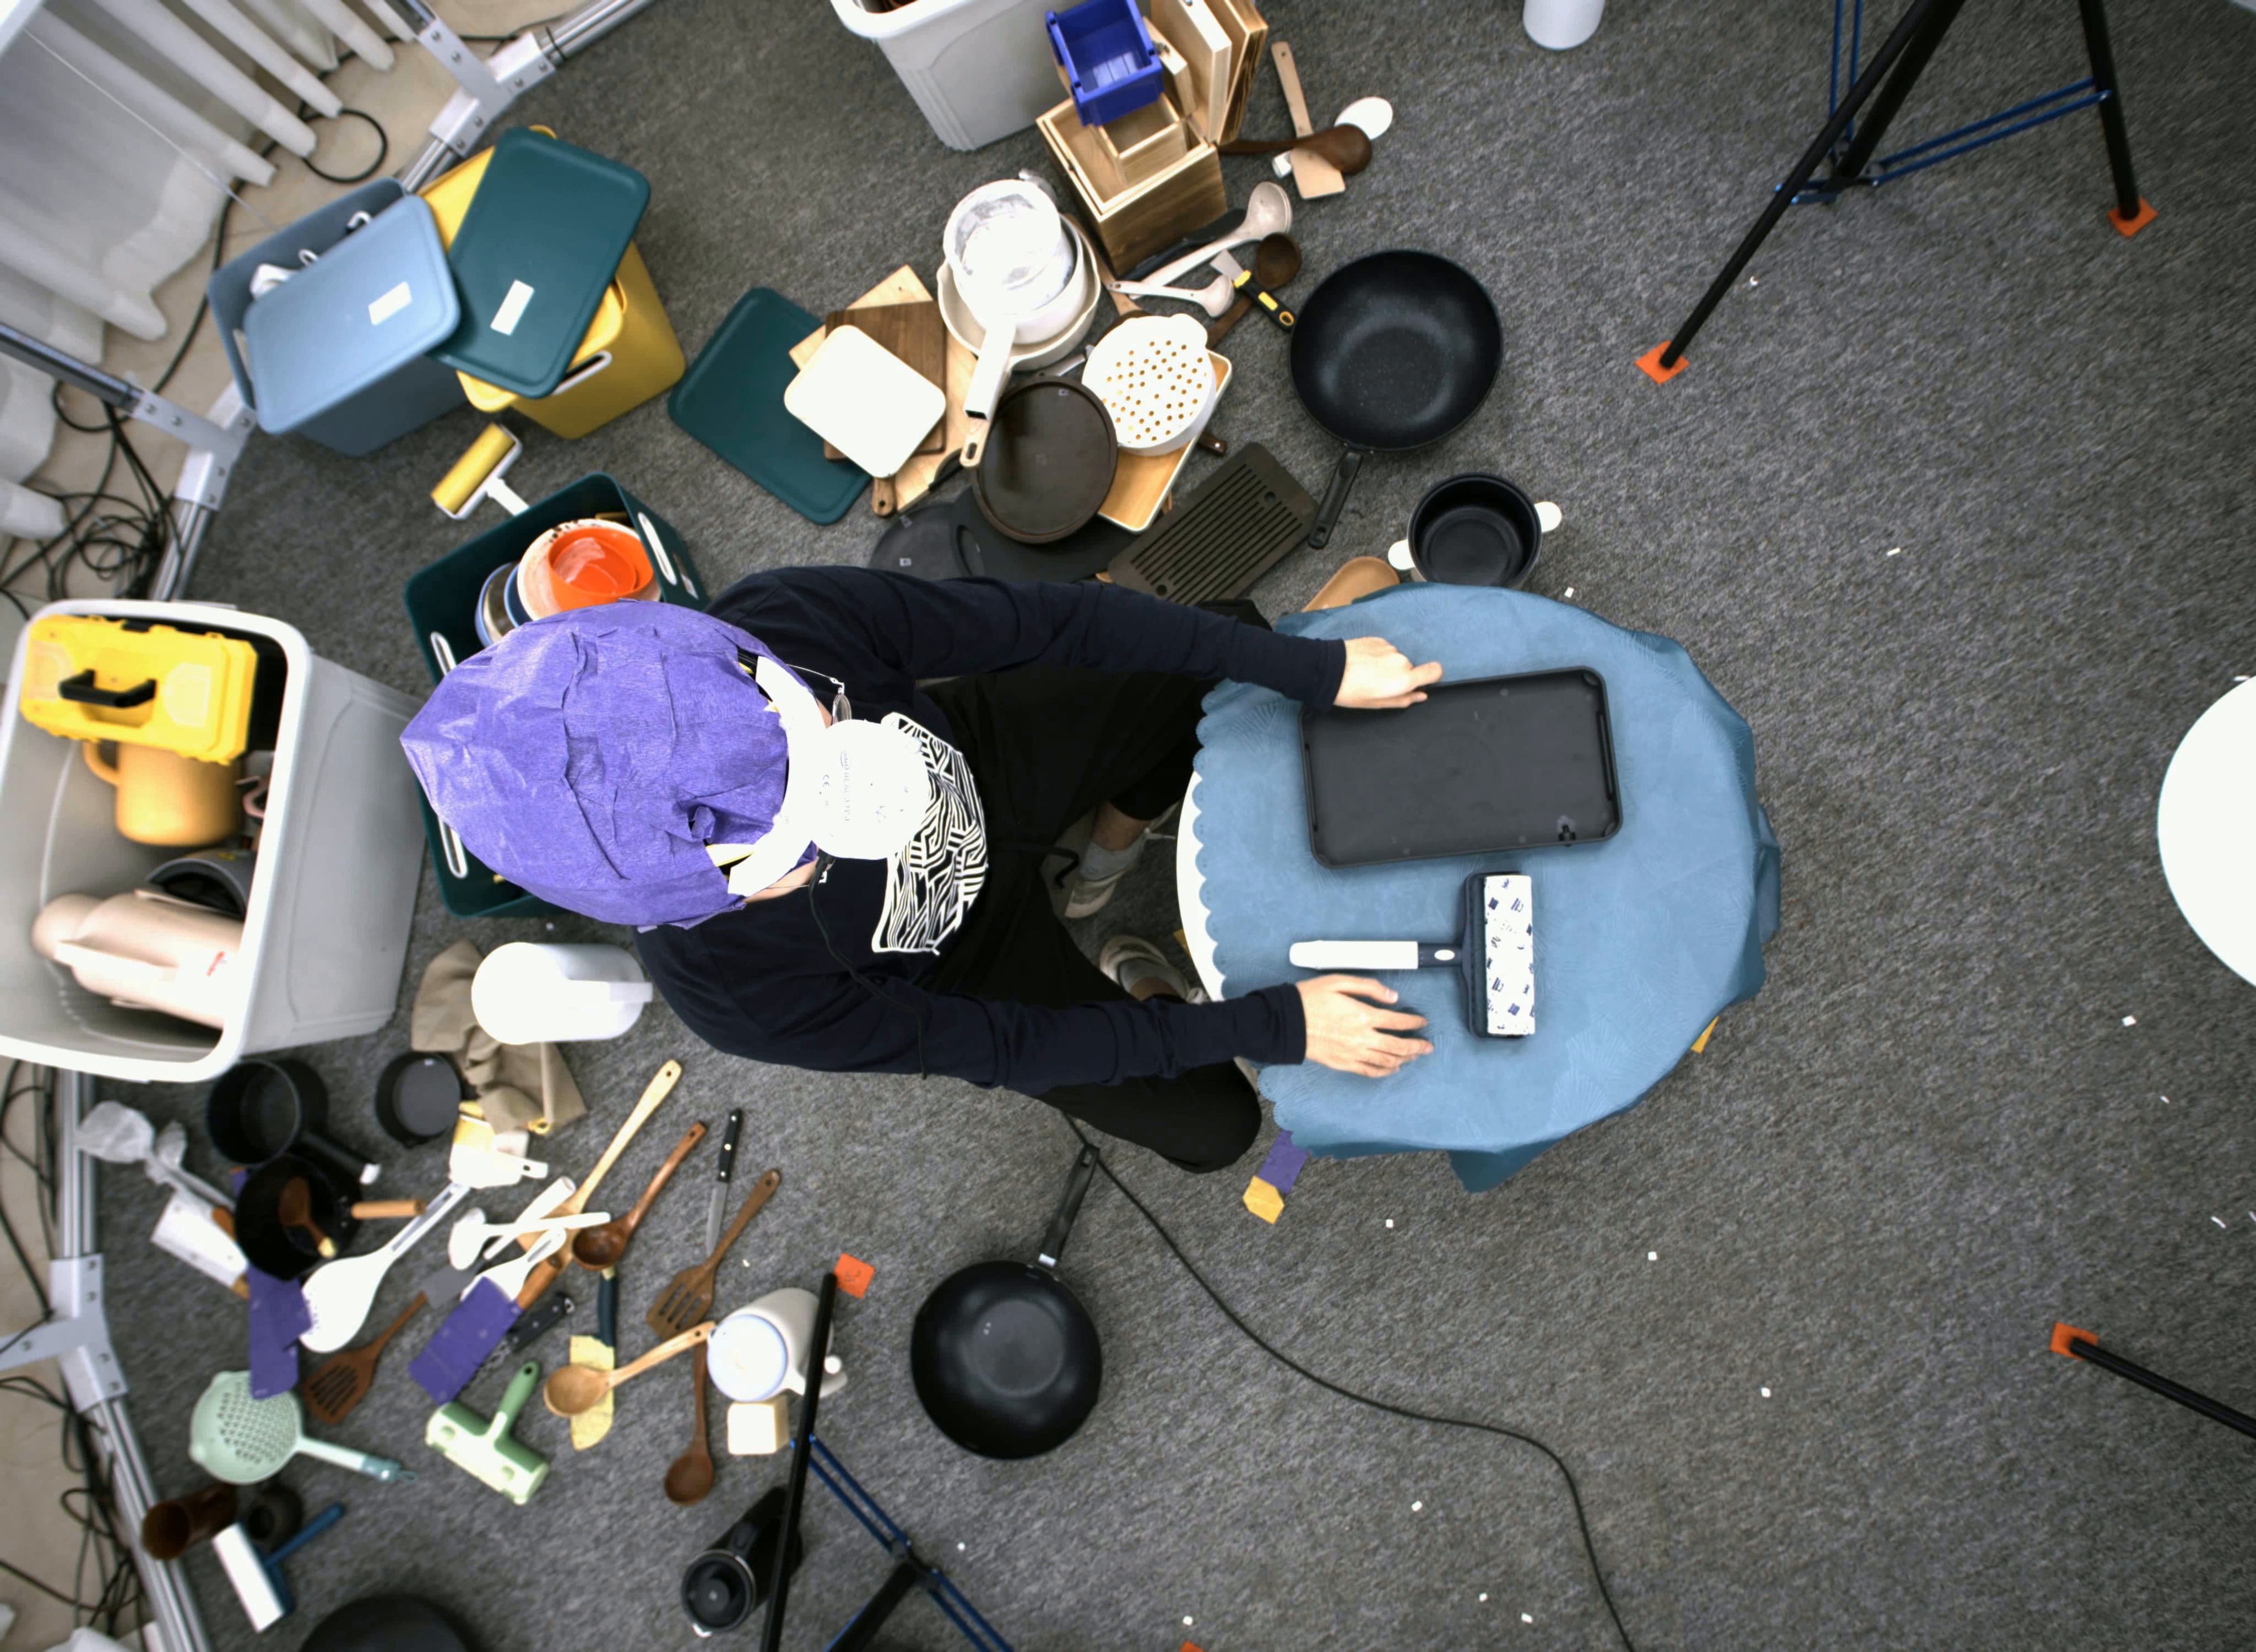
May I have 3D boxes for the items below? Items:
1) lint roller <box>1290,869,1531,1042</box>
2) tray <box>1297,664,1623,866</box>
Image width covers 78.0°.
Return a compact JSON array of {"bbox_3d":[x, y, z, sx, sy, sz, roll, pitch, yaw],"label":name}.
[{"bbox_3d":[0.291,0.134,1.433,0.248,0.050,0.175,-2,87,14],"label":"lint roller"},{"bbox_3d":[0.343,-0.062,1.435,0.319,0.037,0.183,-6,86,11],"label":"tray"}]
